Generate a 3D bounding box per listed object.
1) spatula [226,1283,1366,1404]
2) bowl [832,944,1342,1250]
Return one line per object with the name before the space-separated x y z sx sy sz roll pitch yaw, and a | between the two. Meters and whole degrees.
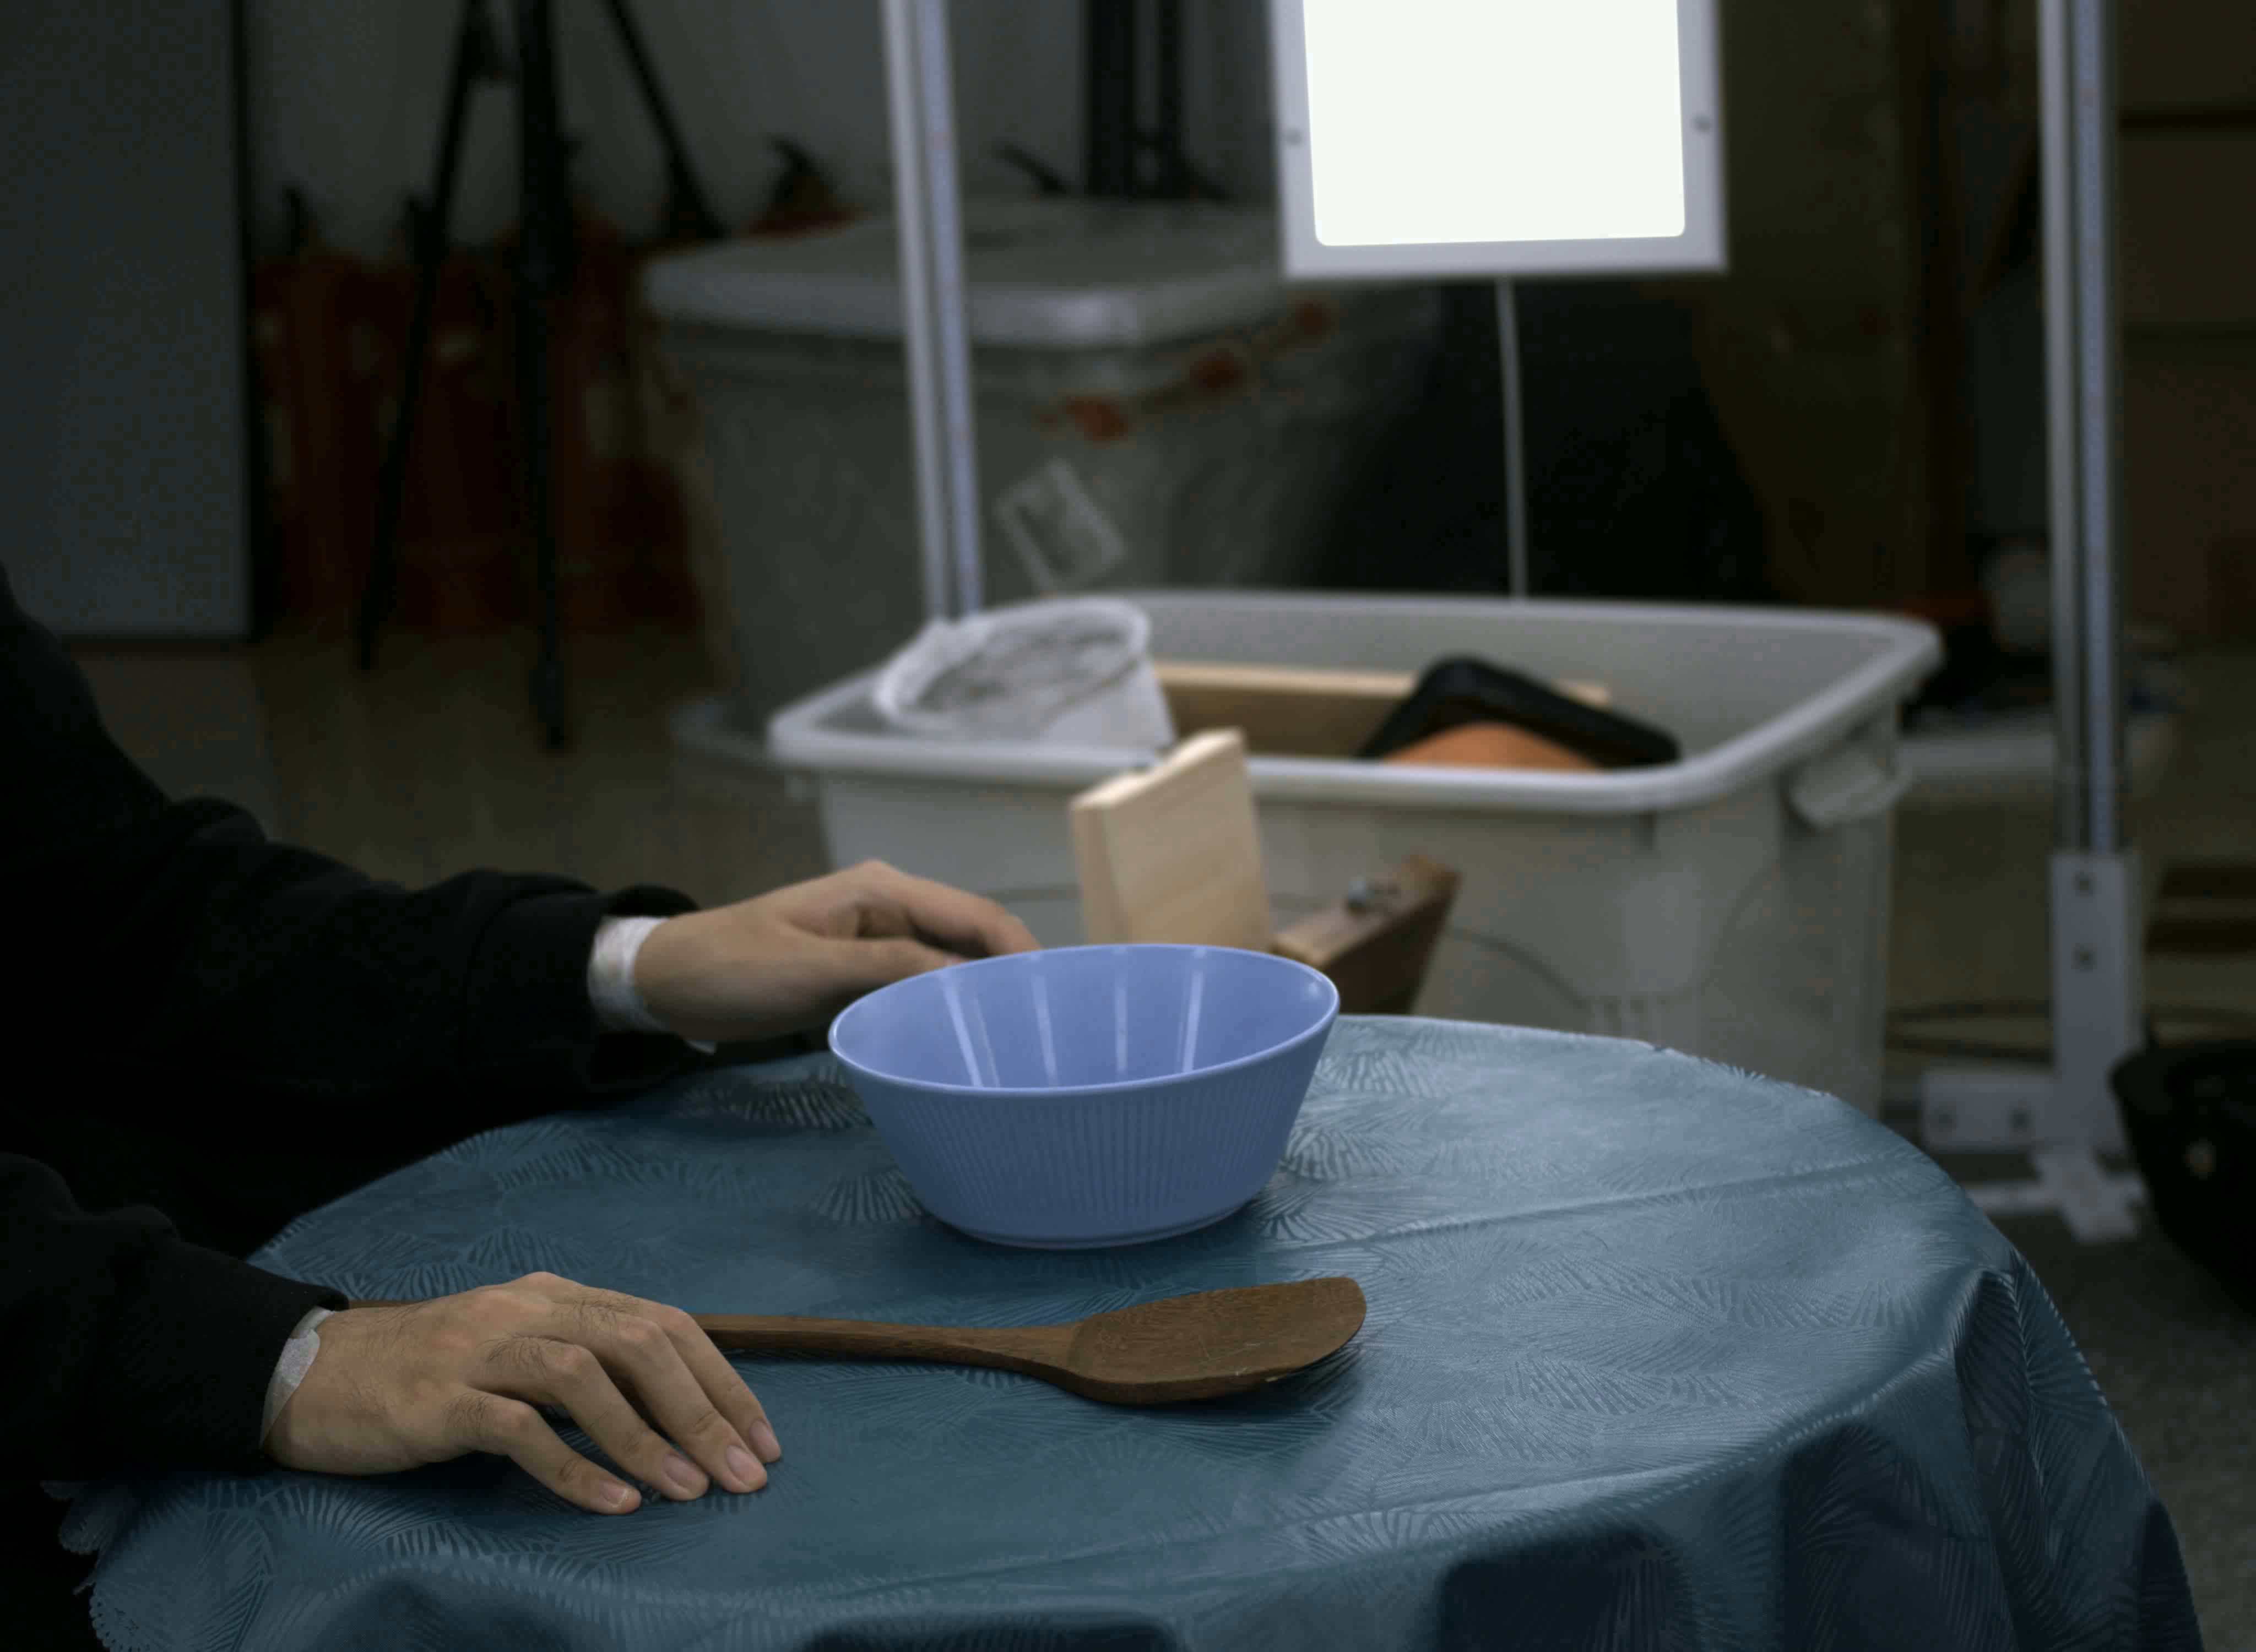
spatula | -0.113 0.162 1.764 0.390 0.016 0.094 0 14 19
bowl | -0.011 0.095 1.884 0.175 0.070 0.176 -6 13 0
